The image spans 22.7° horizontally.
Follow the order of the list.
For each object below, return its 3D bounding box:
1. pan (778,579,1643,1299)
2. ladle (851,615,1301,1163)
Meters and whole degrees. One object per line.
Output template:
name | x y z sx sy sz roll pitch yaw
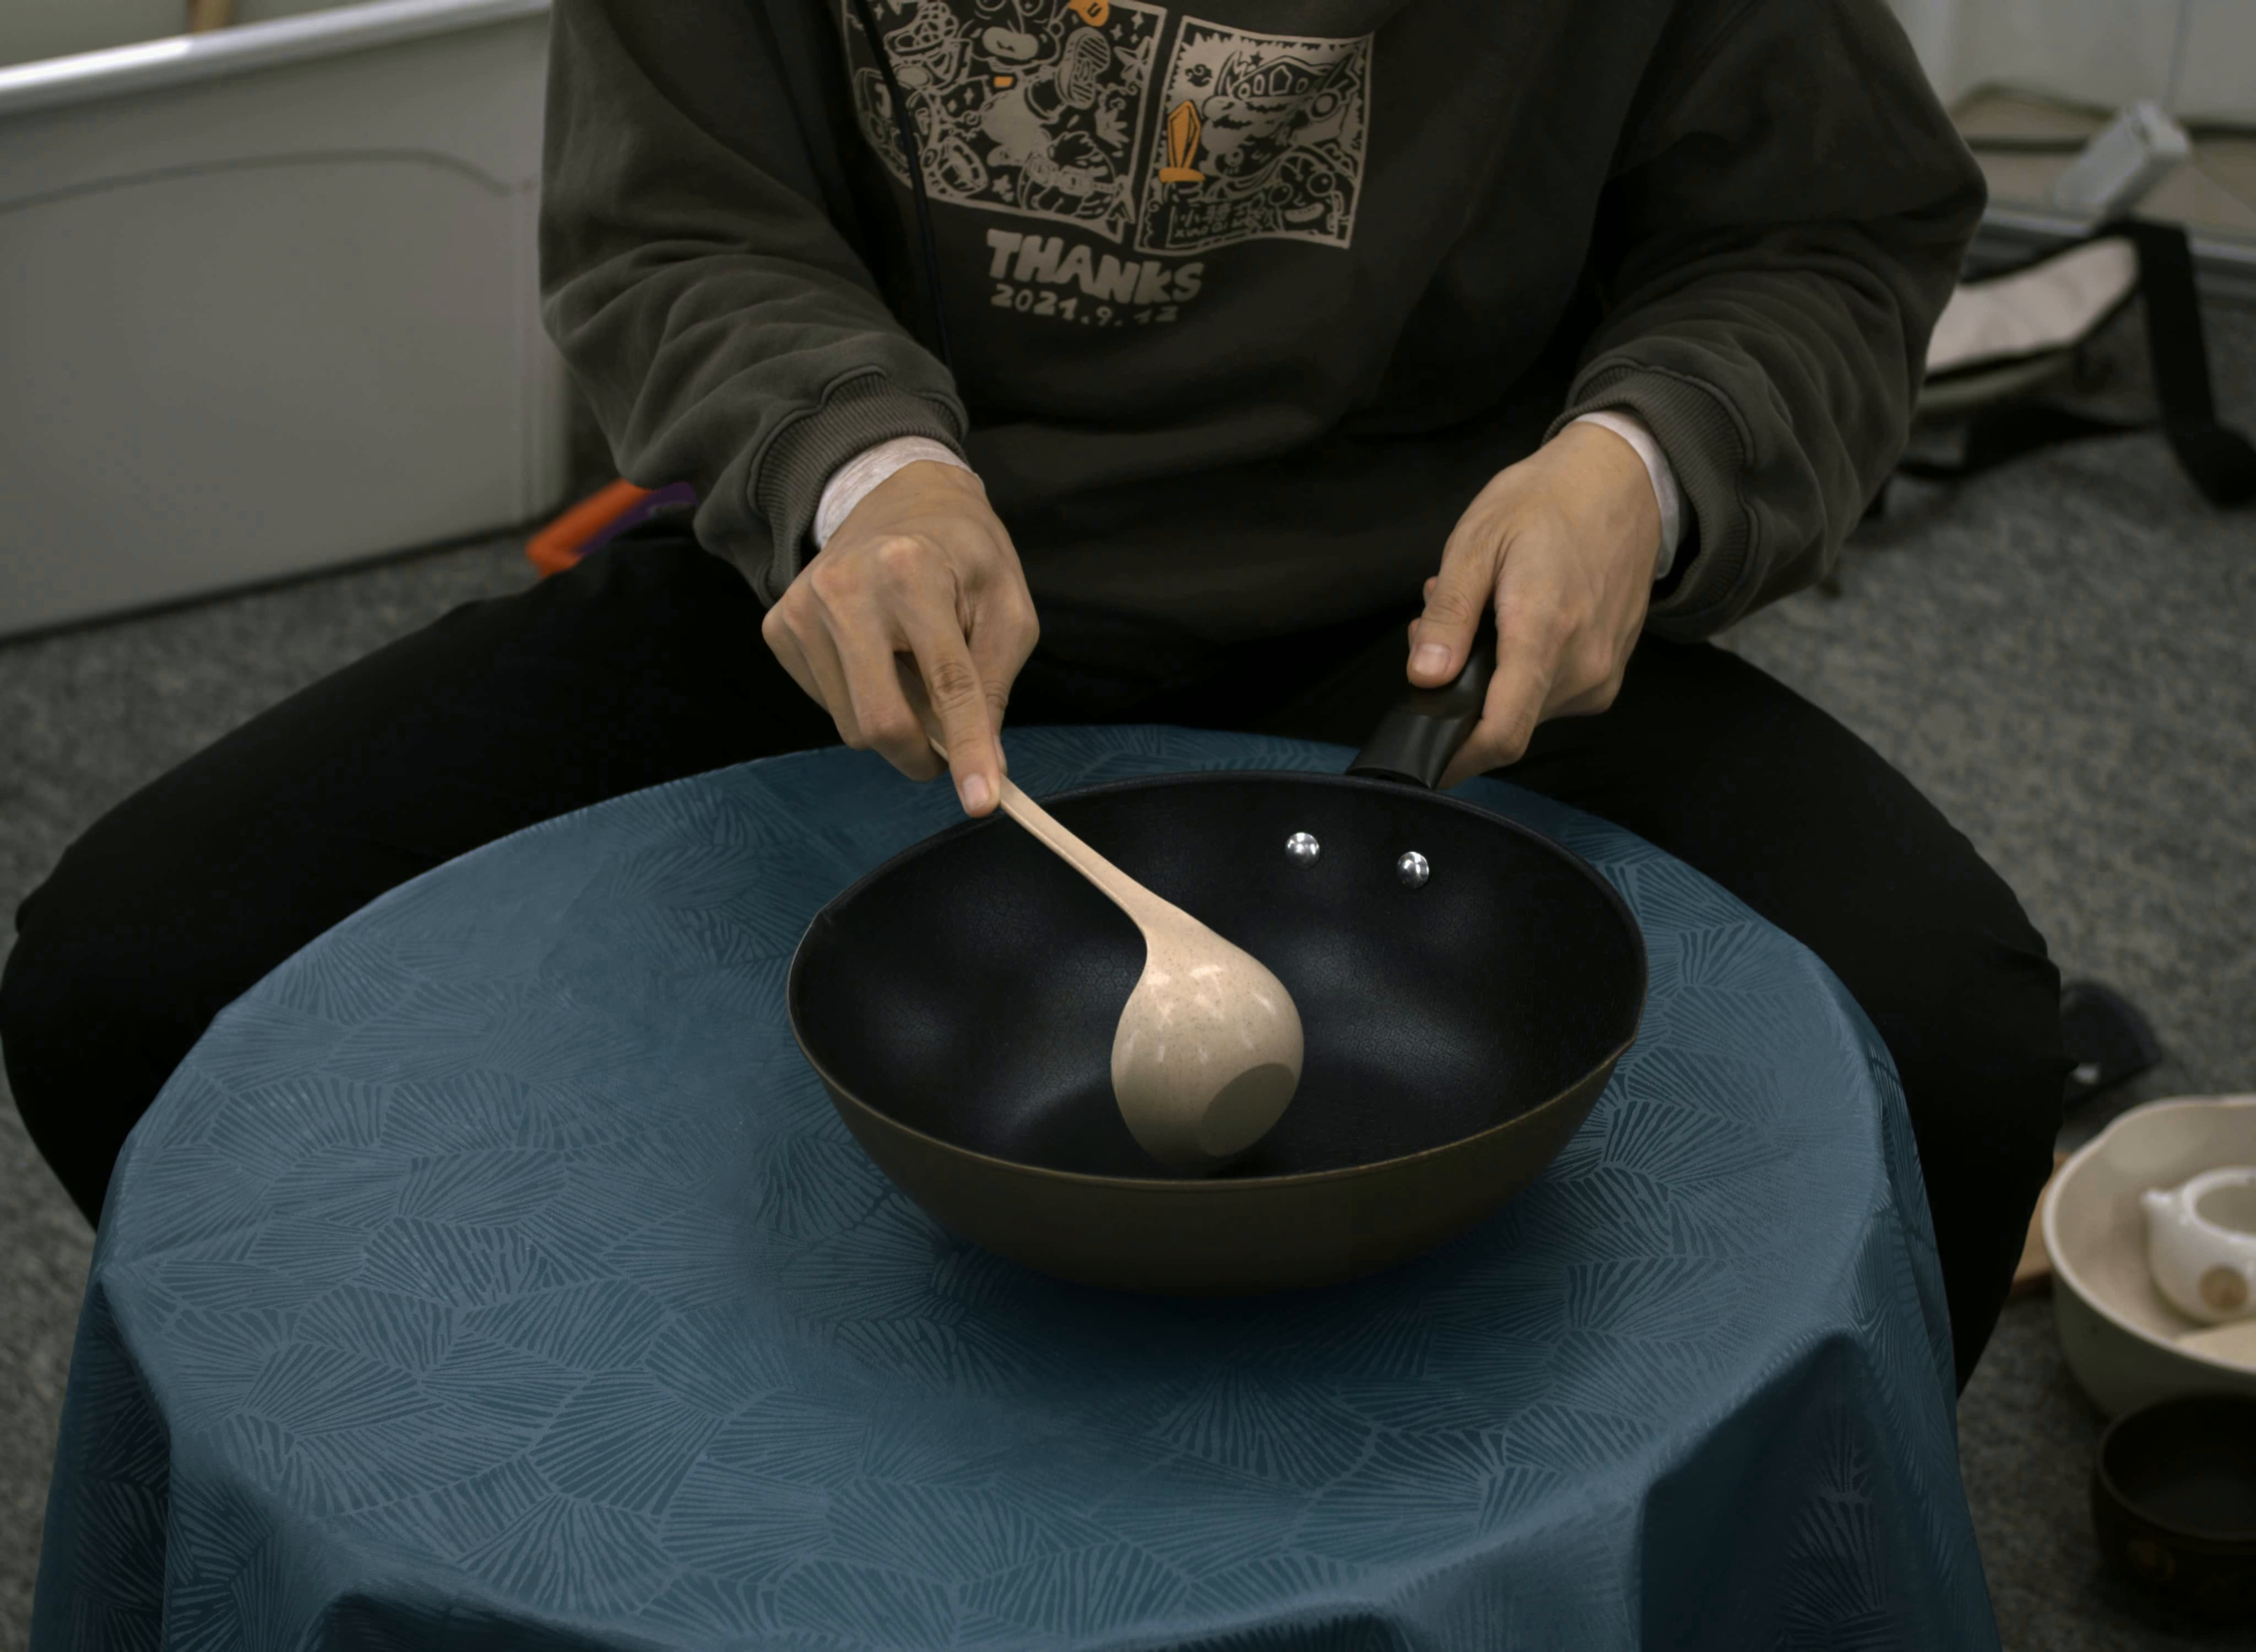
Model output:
pan | 0.064 0.039 1.924 0.286 0.086 0.471 9 28 22
ladle | -0.031 0.023 1.920 0.072 0.072 0.256 -11 38 -33
